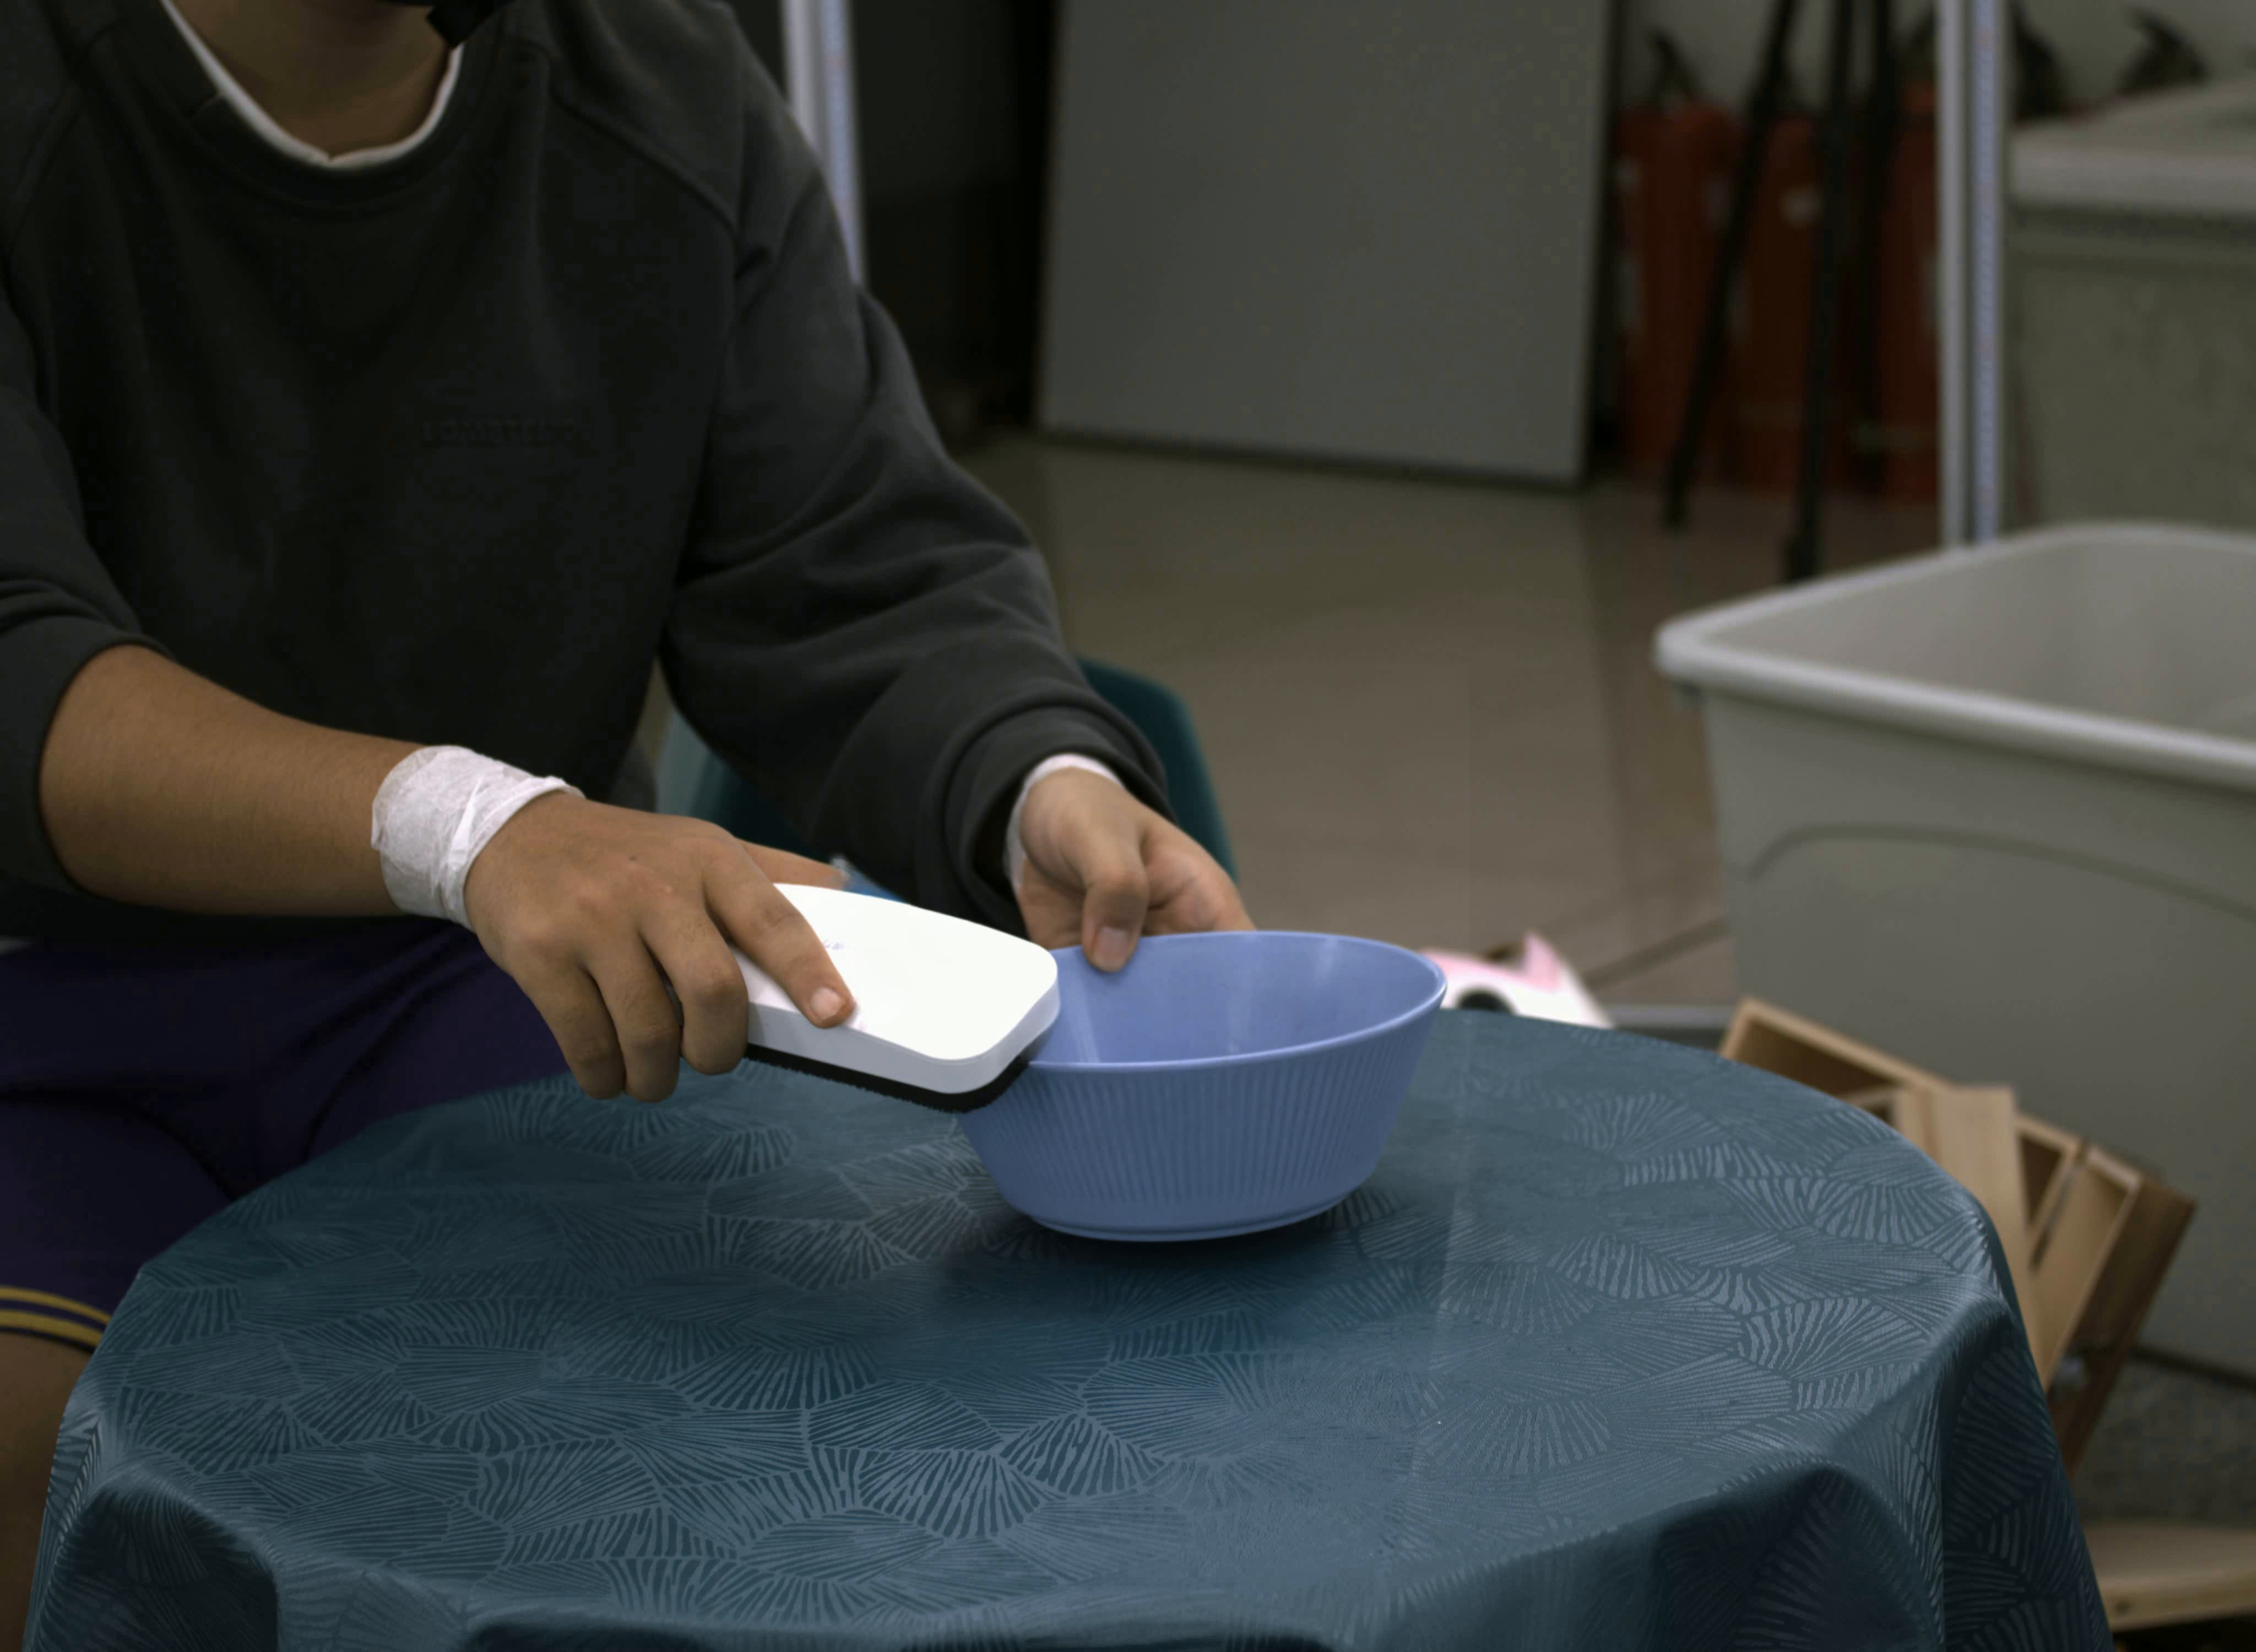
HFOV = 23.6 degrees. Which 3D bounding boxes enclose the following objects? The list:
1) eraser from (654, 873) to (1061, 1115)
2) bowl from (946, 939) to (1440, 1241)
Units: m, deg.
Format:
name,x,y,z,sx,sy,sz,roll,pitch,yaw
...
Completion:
name,x,y,z,sx,sy,sz,roll,pitch,yaw
eraser,-0.083,0.049,1.676,0.132,0.035,0.062,15,40,34
bowl,0.014,0.086,1.728,0.174,0.071,0.176,-3,11,0
